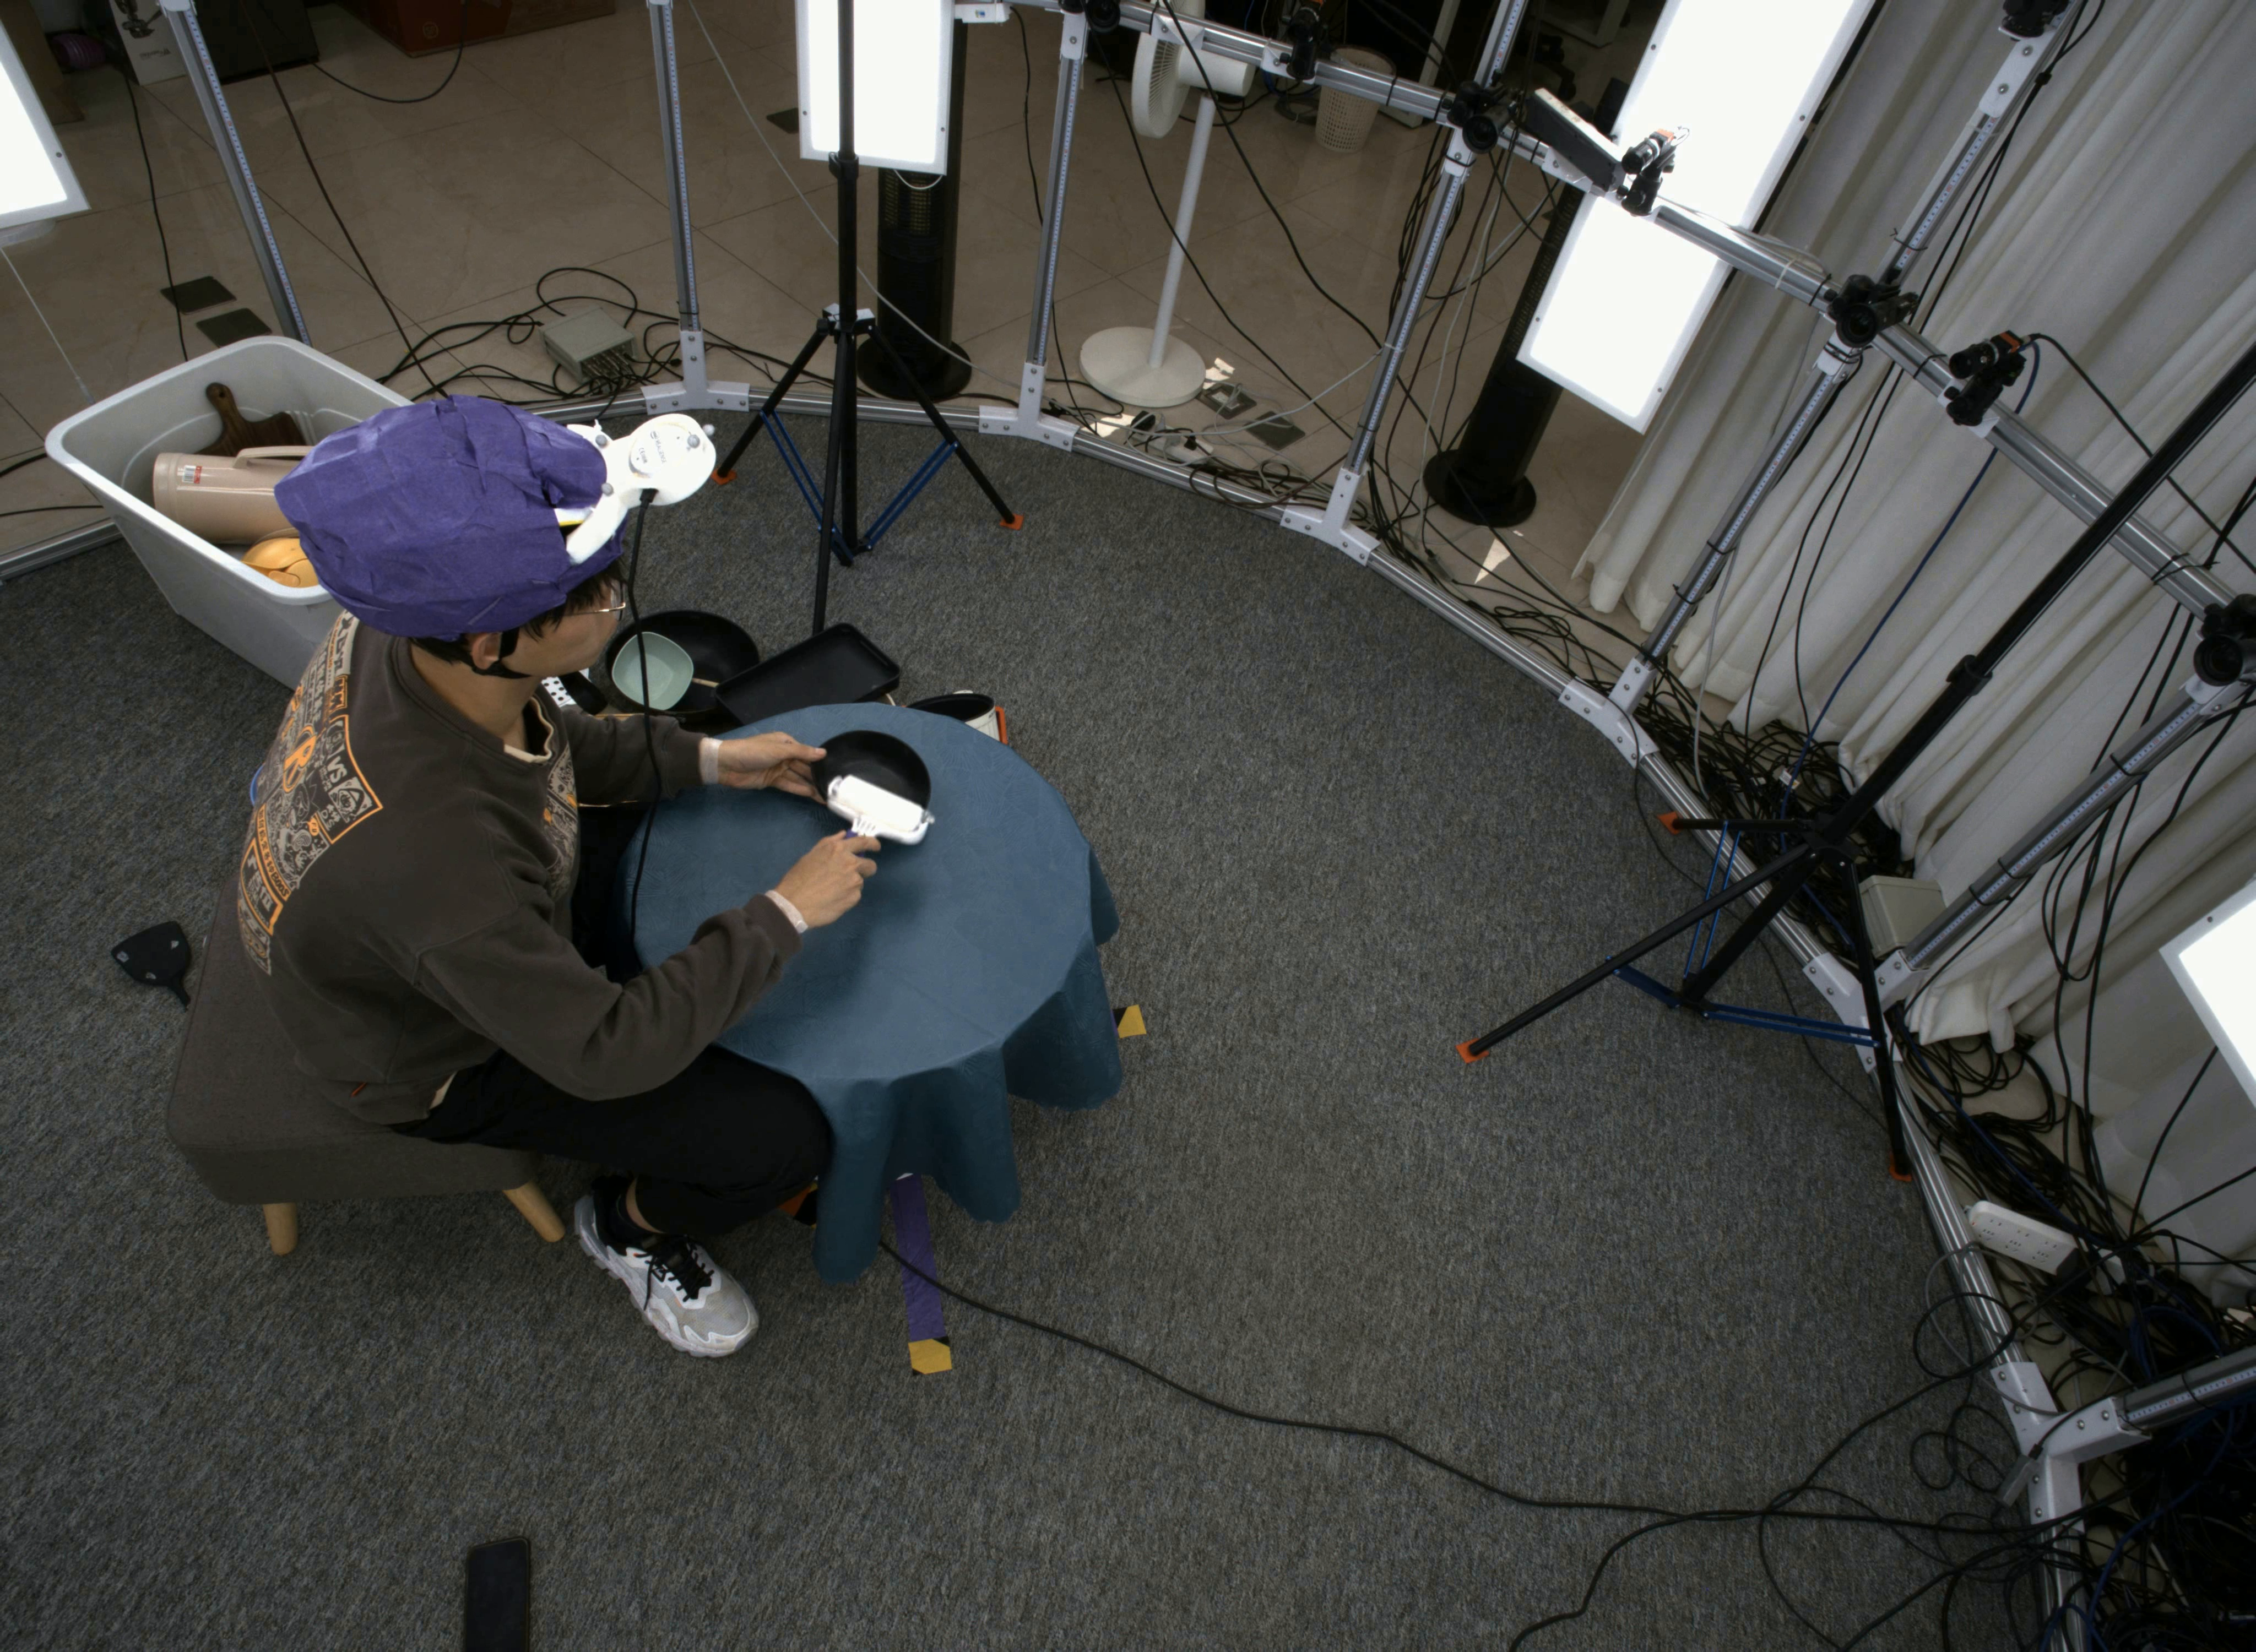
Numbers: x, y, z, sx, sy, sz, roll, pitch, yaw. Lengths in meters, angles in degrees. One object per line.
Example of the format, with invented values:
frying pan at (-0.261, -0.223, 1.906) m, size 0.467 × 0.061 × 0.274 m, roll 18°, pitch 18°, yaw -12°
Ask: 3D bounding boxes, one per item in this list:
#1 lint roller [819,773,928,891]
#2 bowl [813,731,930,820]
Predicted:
lint roller at (-0.335, 0.008, 1.598) m, size 0.132 × 0.051 × 0.179 m, roll 26°, pitch 36°, yaw -1°
bowl at (-0.345, -0.052, 1.756) m, size 0.168 × 0.068 × 0.137 m, roll 29°, pitch 54°, yaw 7°
